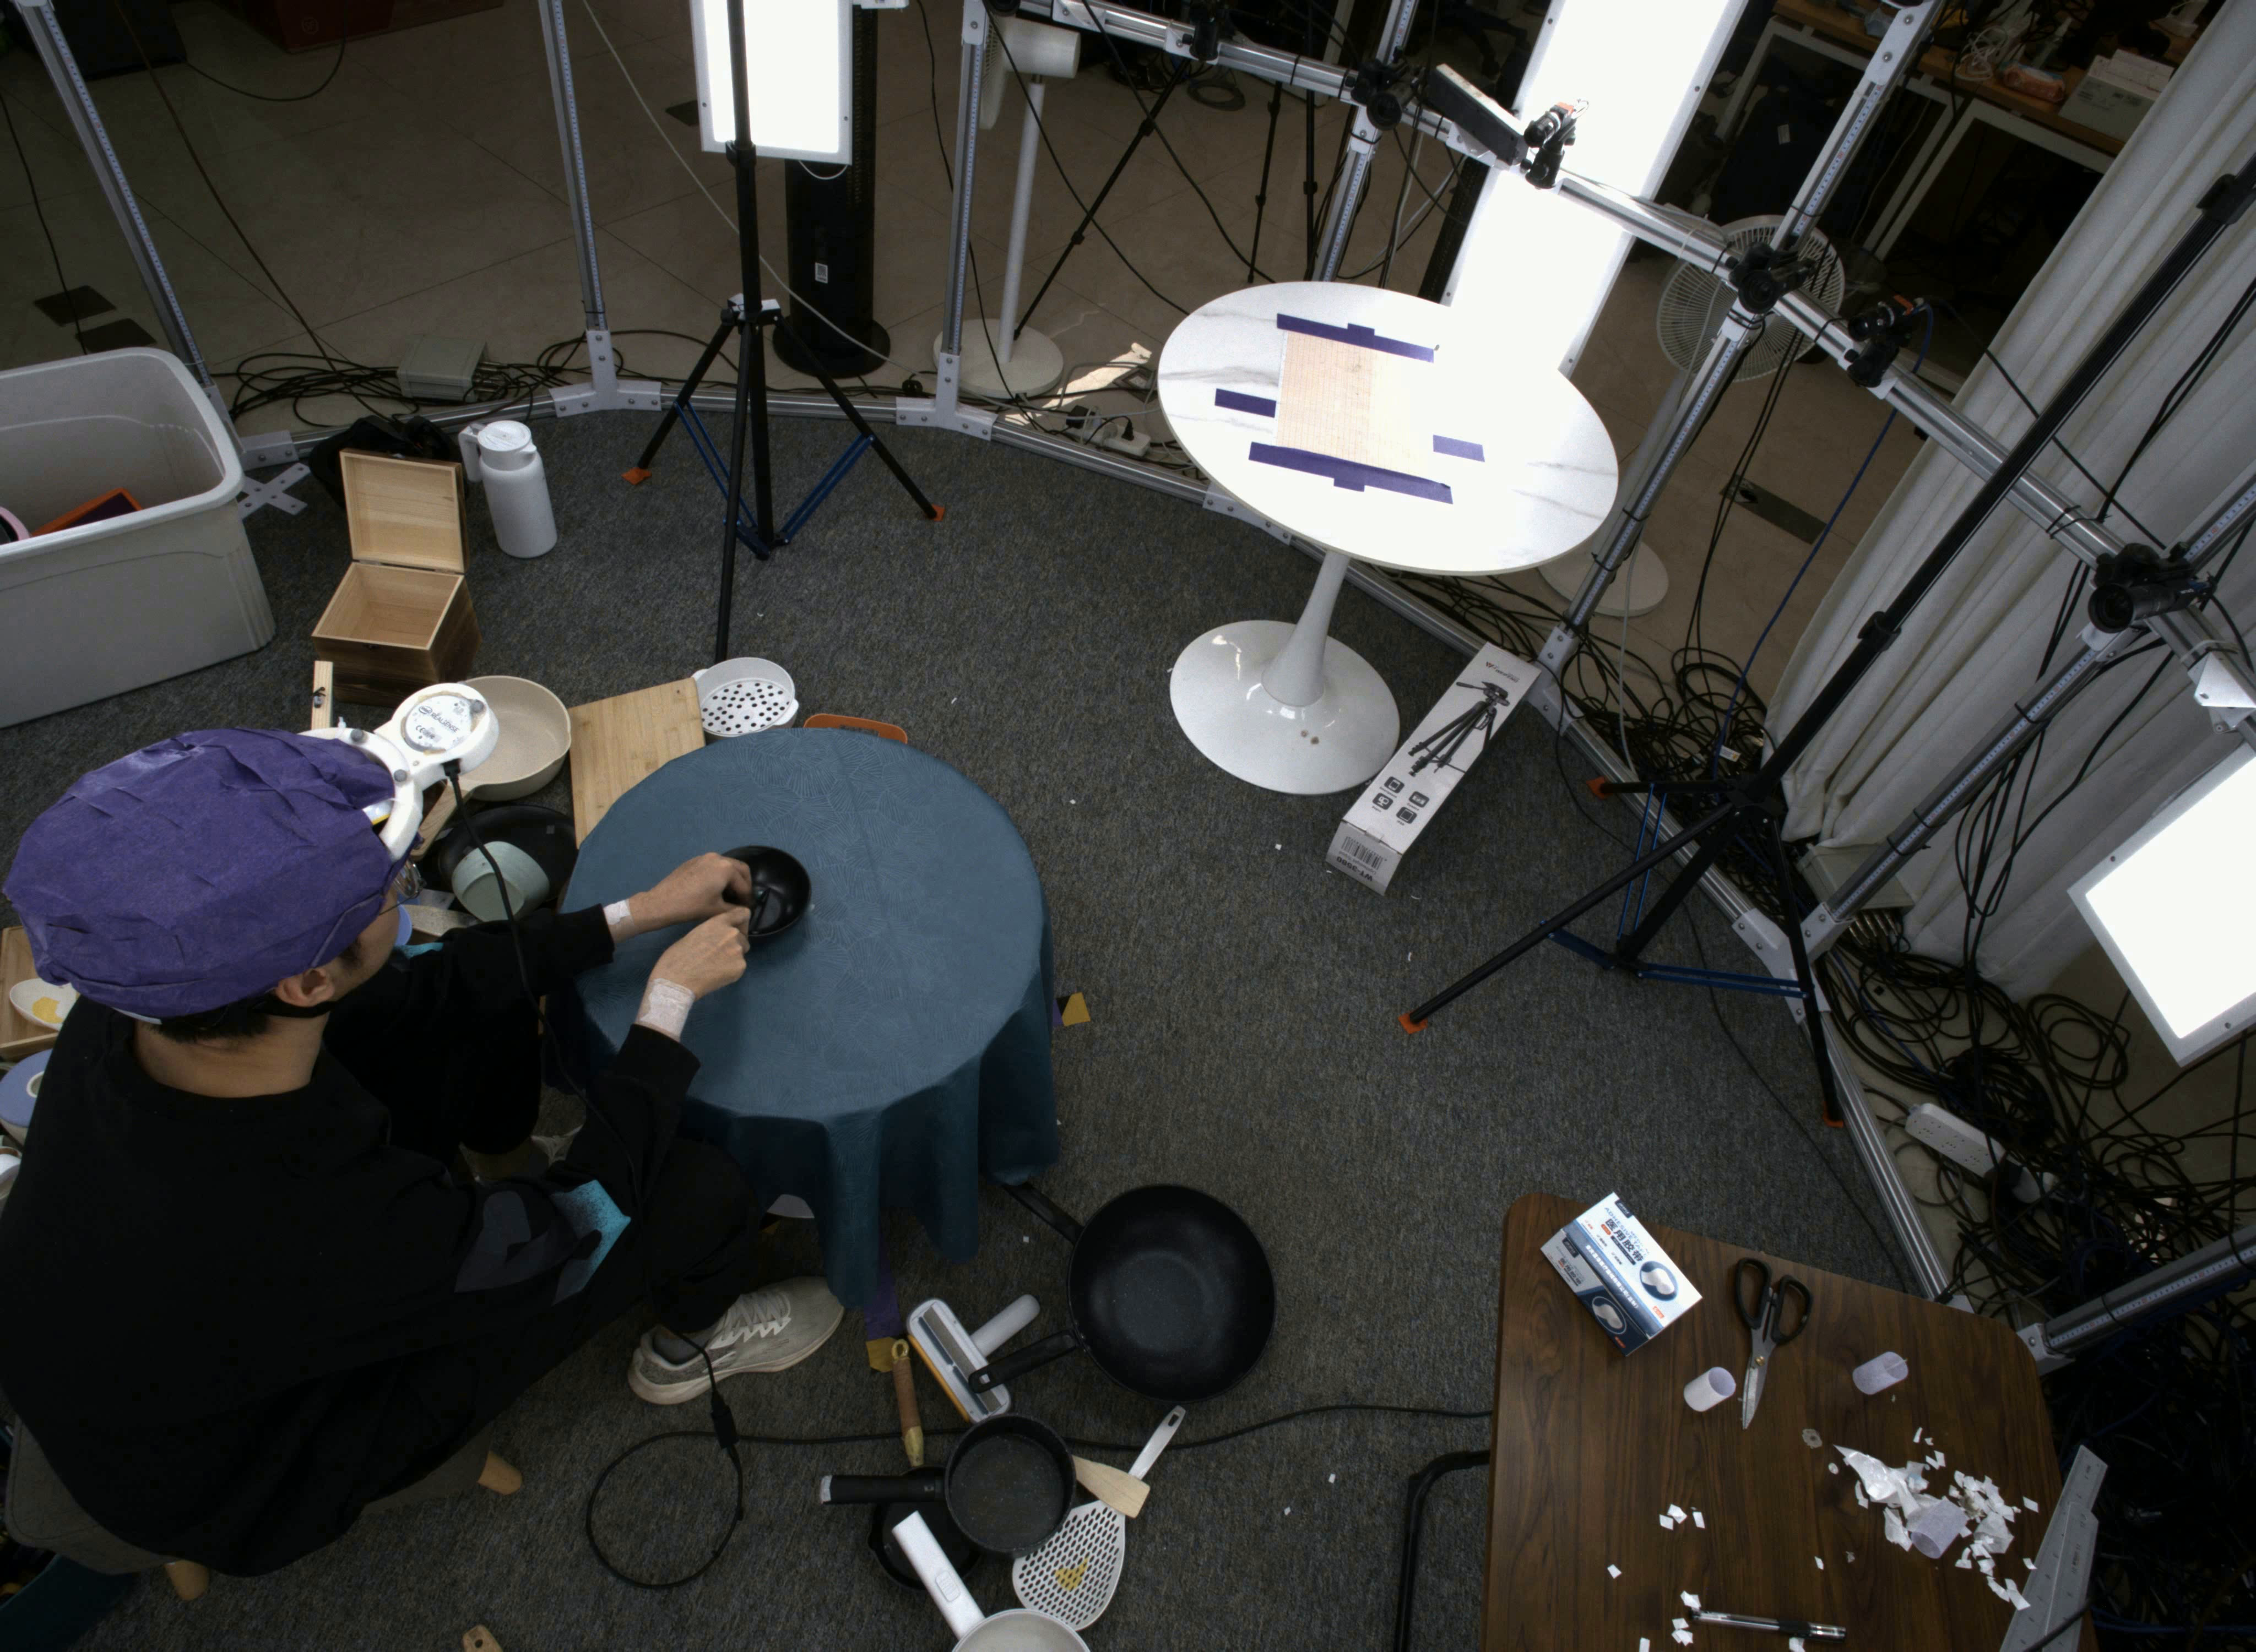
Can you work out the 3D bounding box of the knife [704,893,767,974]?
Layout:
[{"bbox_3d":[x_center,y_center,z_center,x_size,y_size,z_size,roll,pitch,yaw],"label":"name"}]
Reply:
[{"bbox_3d":[-0.462,0.118,1.539,0.017,0.026,0.222,21,20,-5],"label":"knife"}]

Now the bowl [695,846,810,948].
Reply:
[{"bbox_3d":[-0.464,0.094,1.604,0.140,0.050,0.138,7,57,-8],"label":"bowl"}]
